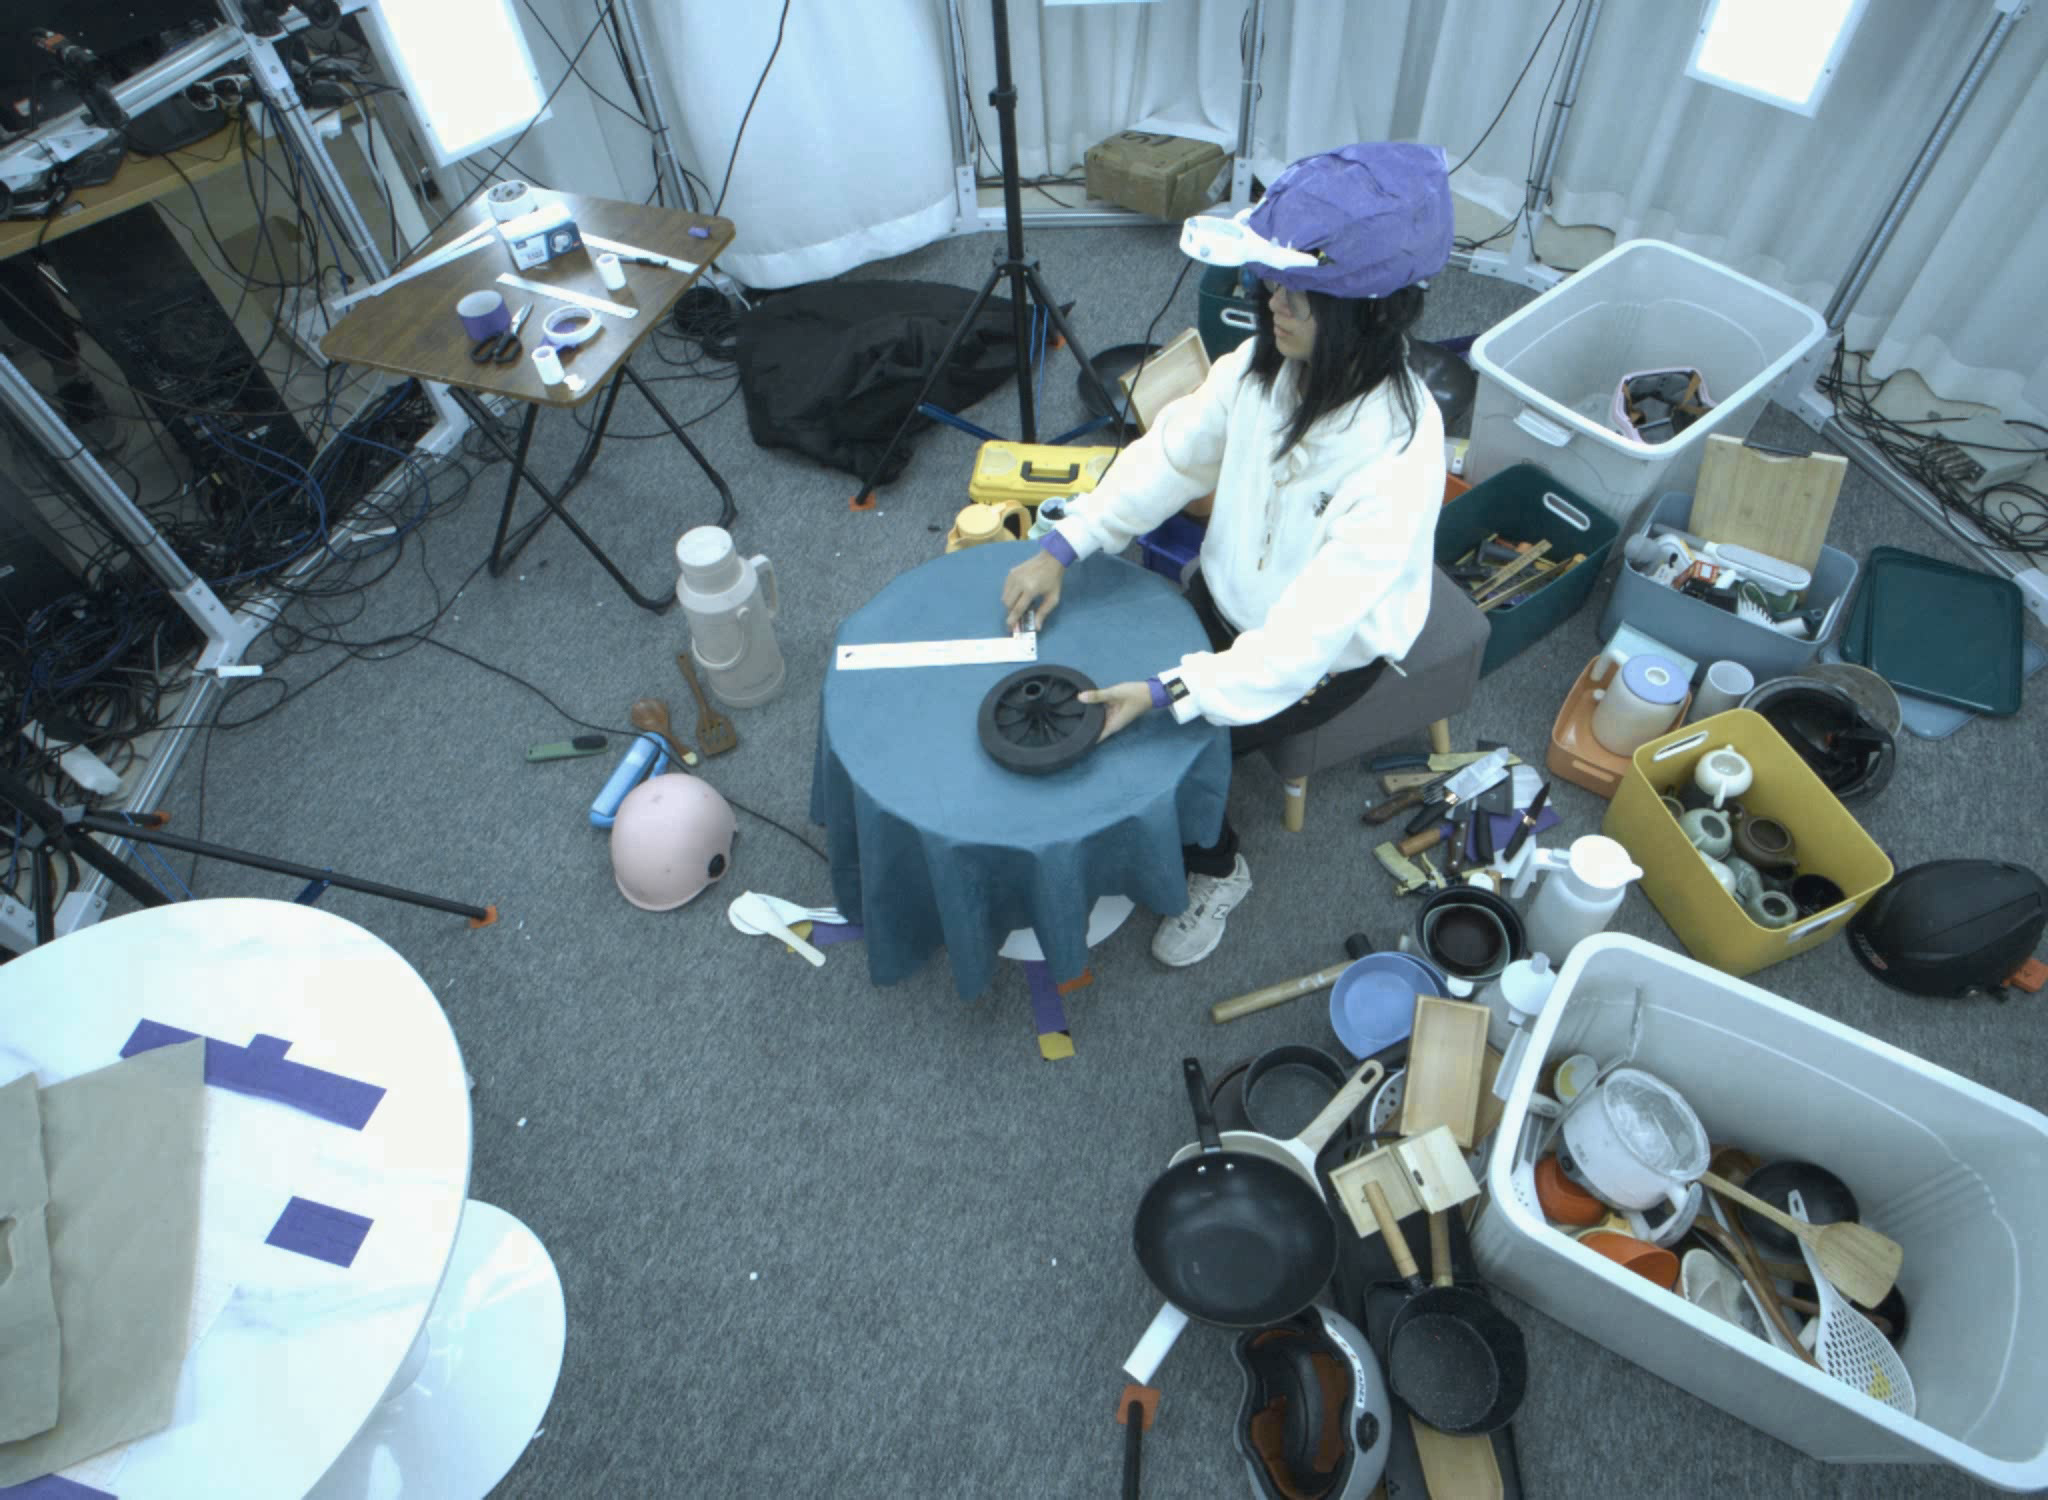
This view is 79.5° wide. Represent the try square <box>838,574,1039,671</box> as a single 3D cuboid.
[{"bbox_3d":[-0.133,-0.199,1.910,0.313,0.016,0.151,-2,67,1],"label":"try square"}]

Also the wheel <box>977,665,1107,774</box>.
[{"bbox_3d":[0.022,-0.059,1.775,0.186,0.080,0.188,35,68,29],"label":"wheel"}]
